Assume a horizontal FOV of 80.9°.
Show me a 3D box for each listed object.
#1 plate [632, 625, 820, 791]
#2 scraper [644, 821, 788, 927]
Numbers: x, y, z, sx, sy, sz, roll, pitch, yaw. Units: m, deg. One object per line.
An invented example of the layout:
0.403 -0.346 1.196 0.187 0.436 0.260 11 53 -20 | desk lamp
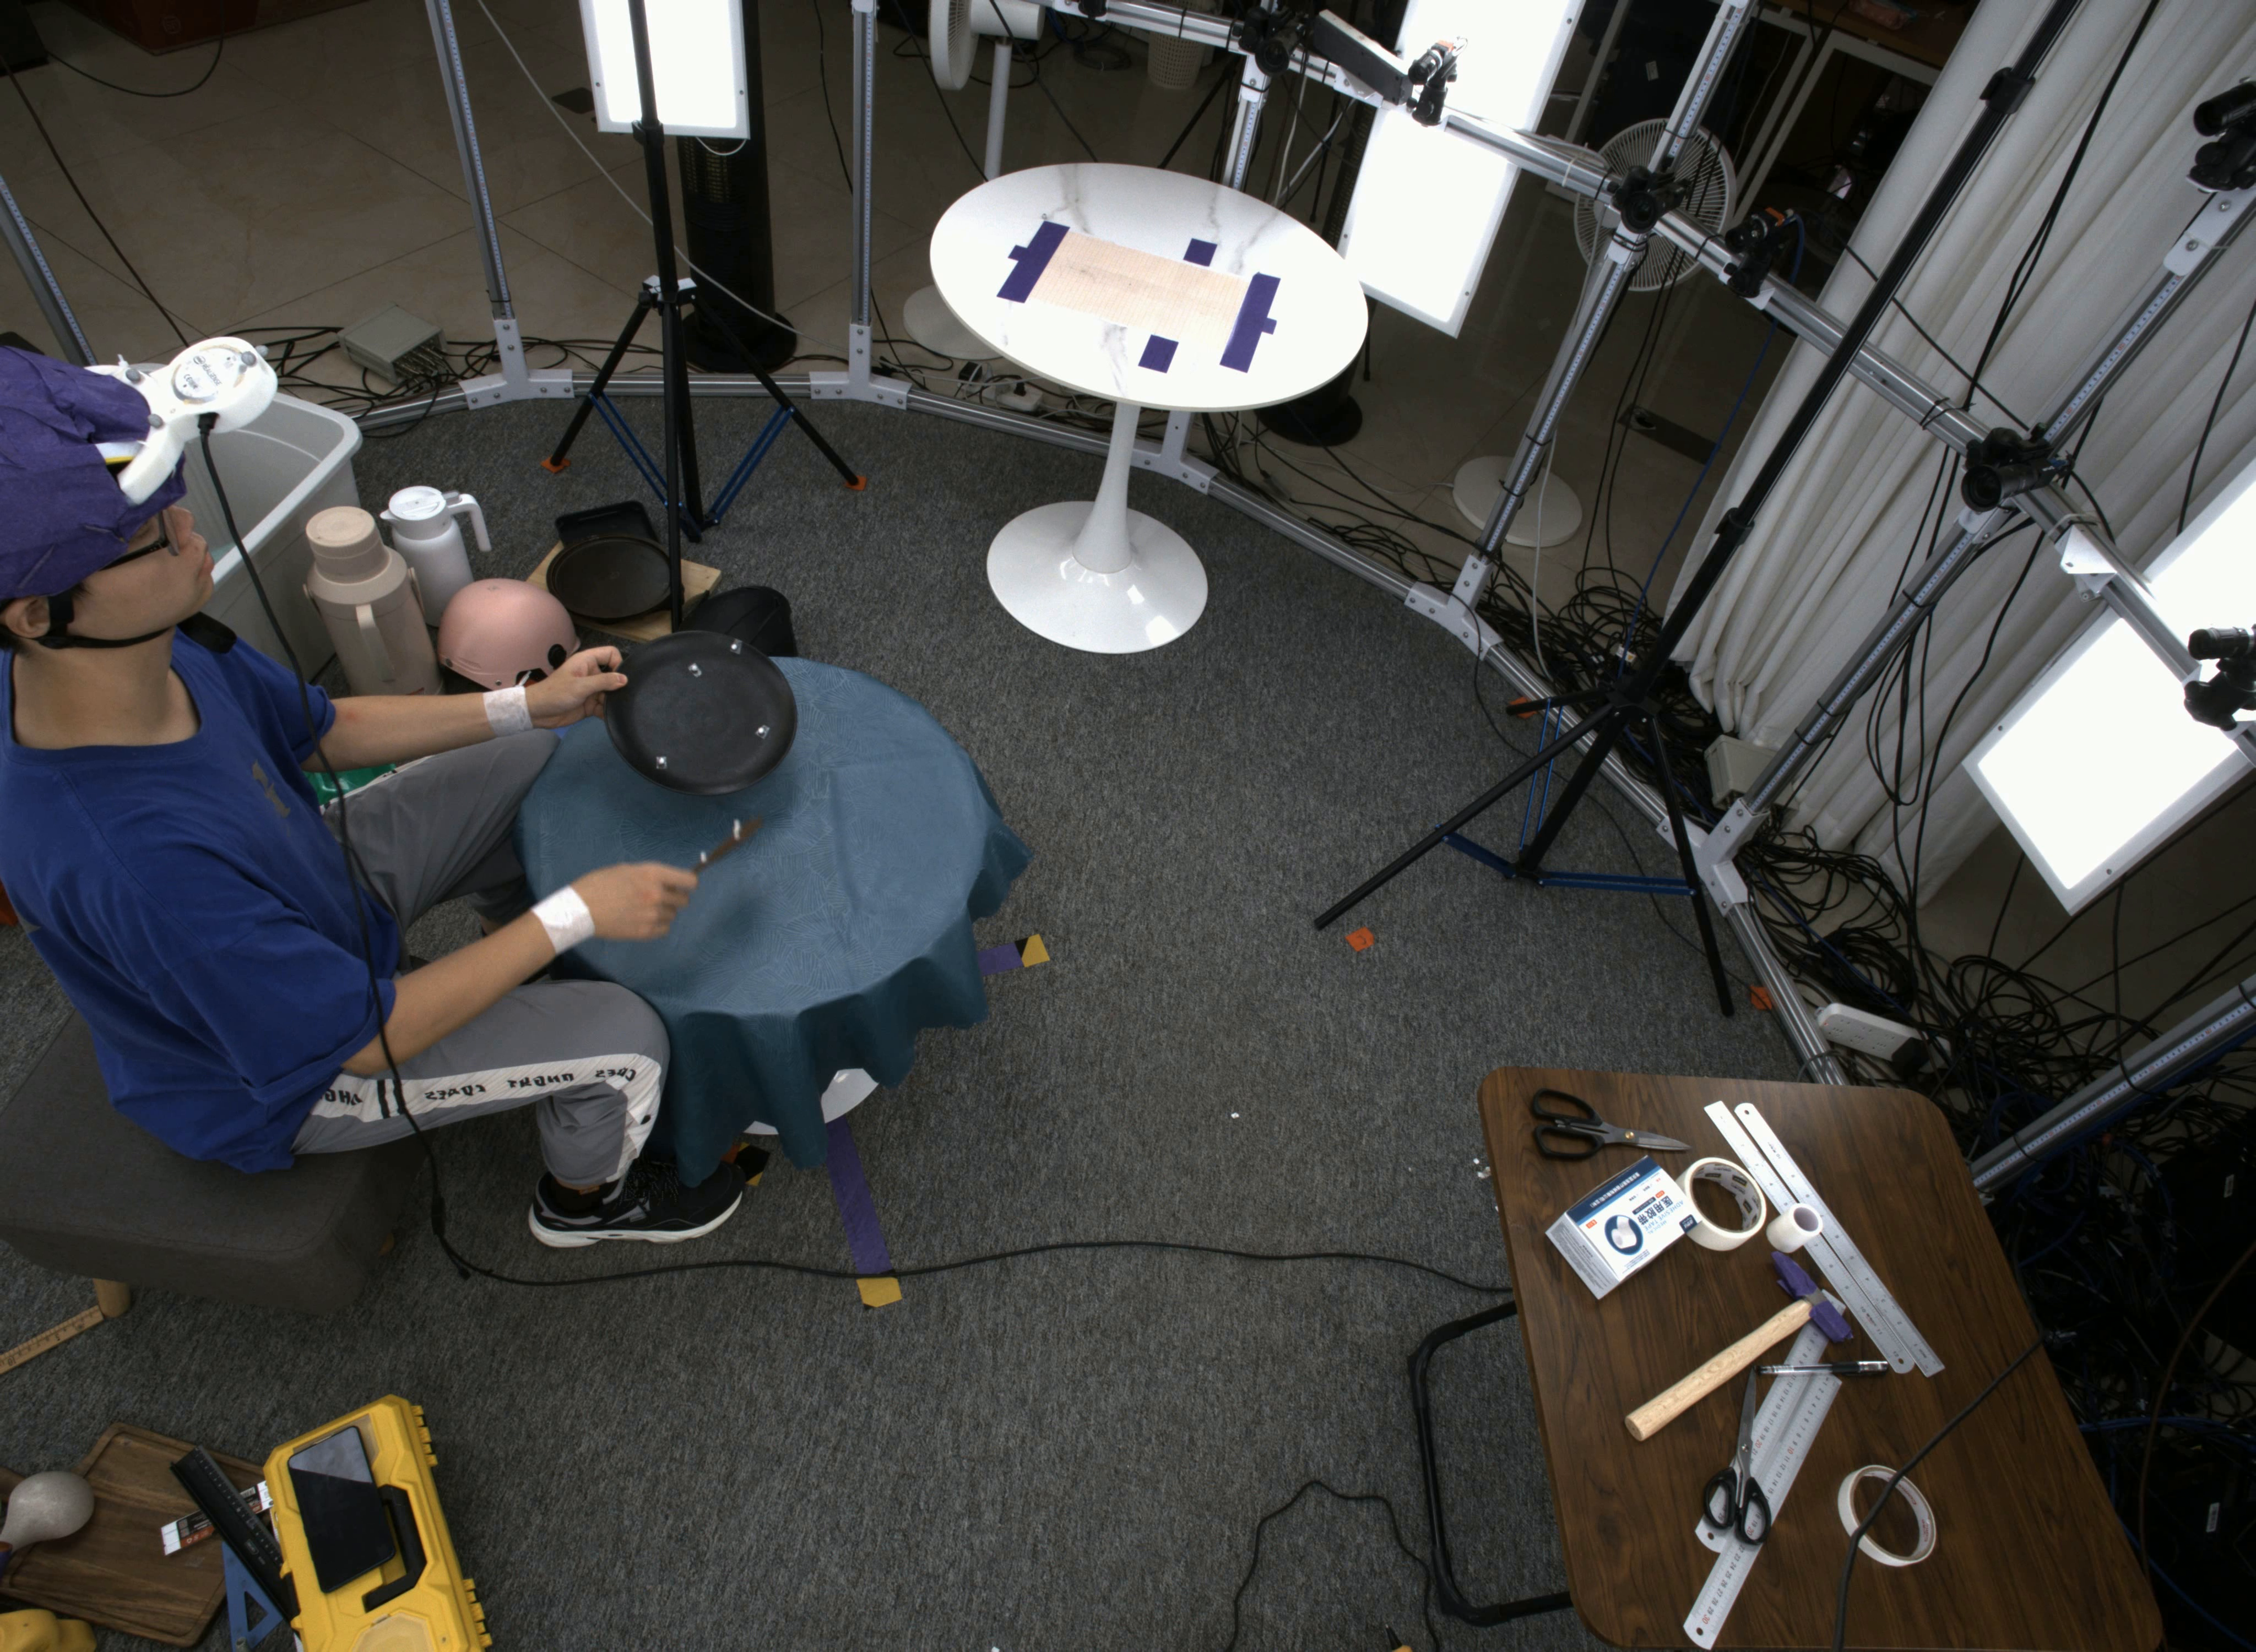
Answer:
-0.529 -0.154 1.695 0.246 0.023 0.242 10 65 -19 | plate
-0.496 0.056 1.552 0.211 0.074 0.011 -42 109 -35 | scraper
